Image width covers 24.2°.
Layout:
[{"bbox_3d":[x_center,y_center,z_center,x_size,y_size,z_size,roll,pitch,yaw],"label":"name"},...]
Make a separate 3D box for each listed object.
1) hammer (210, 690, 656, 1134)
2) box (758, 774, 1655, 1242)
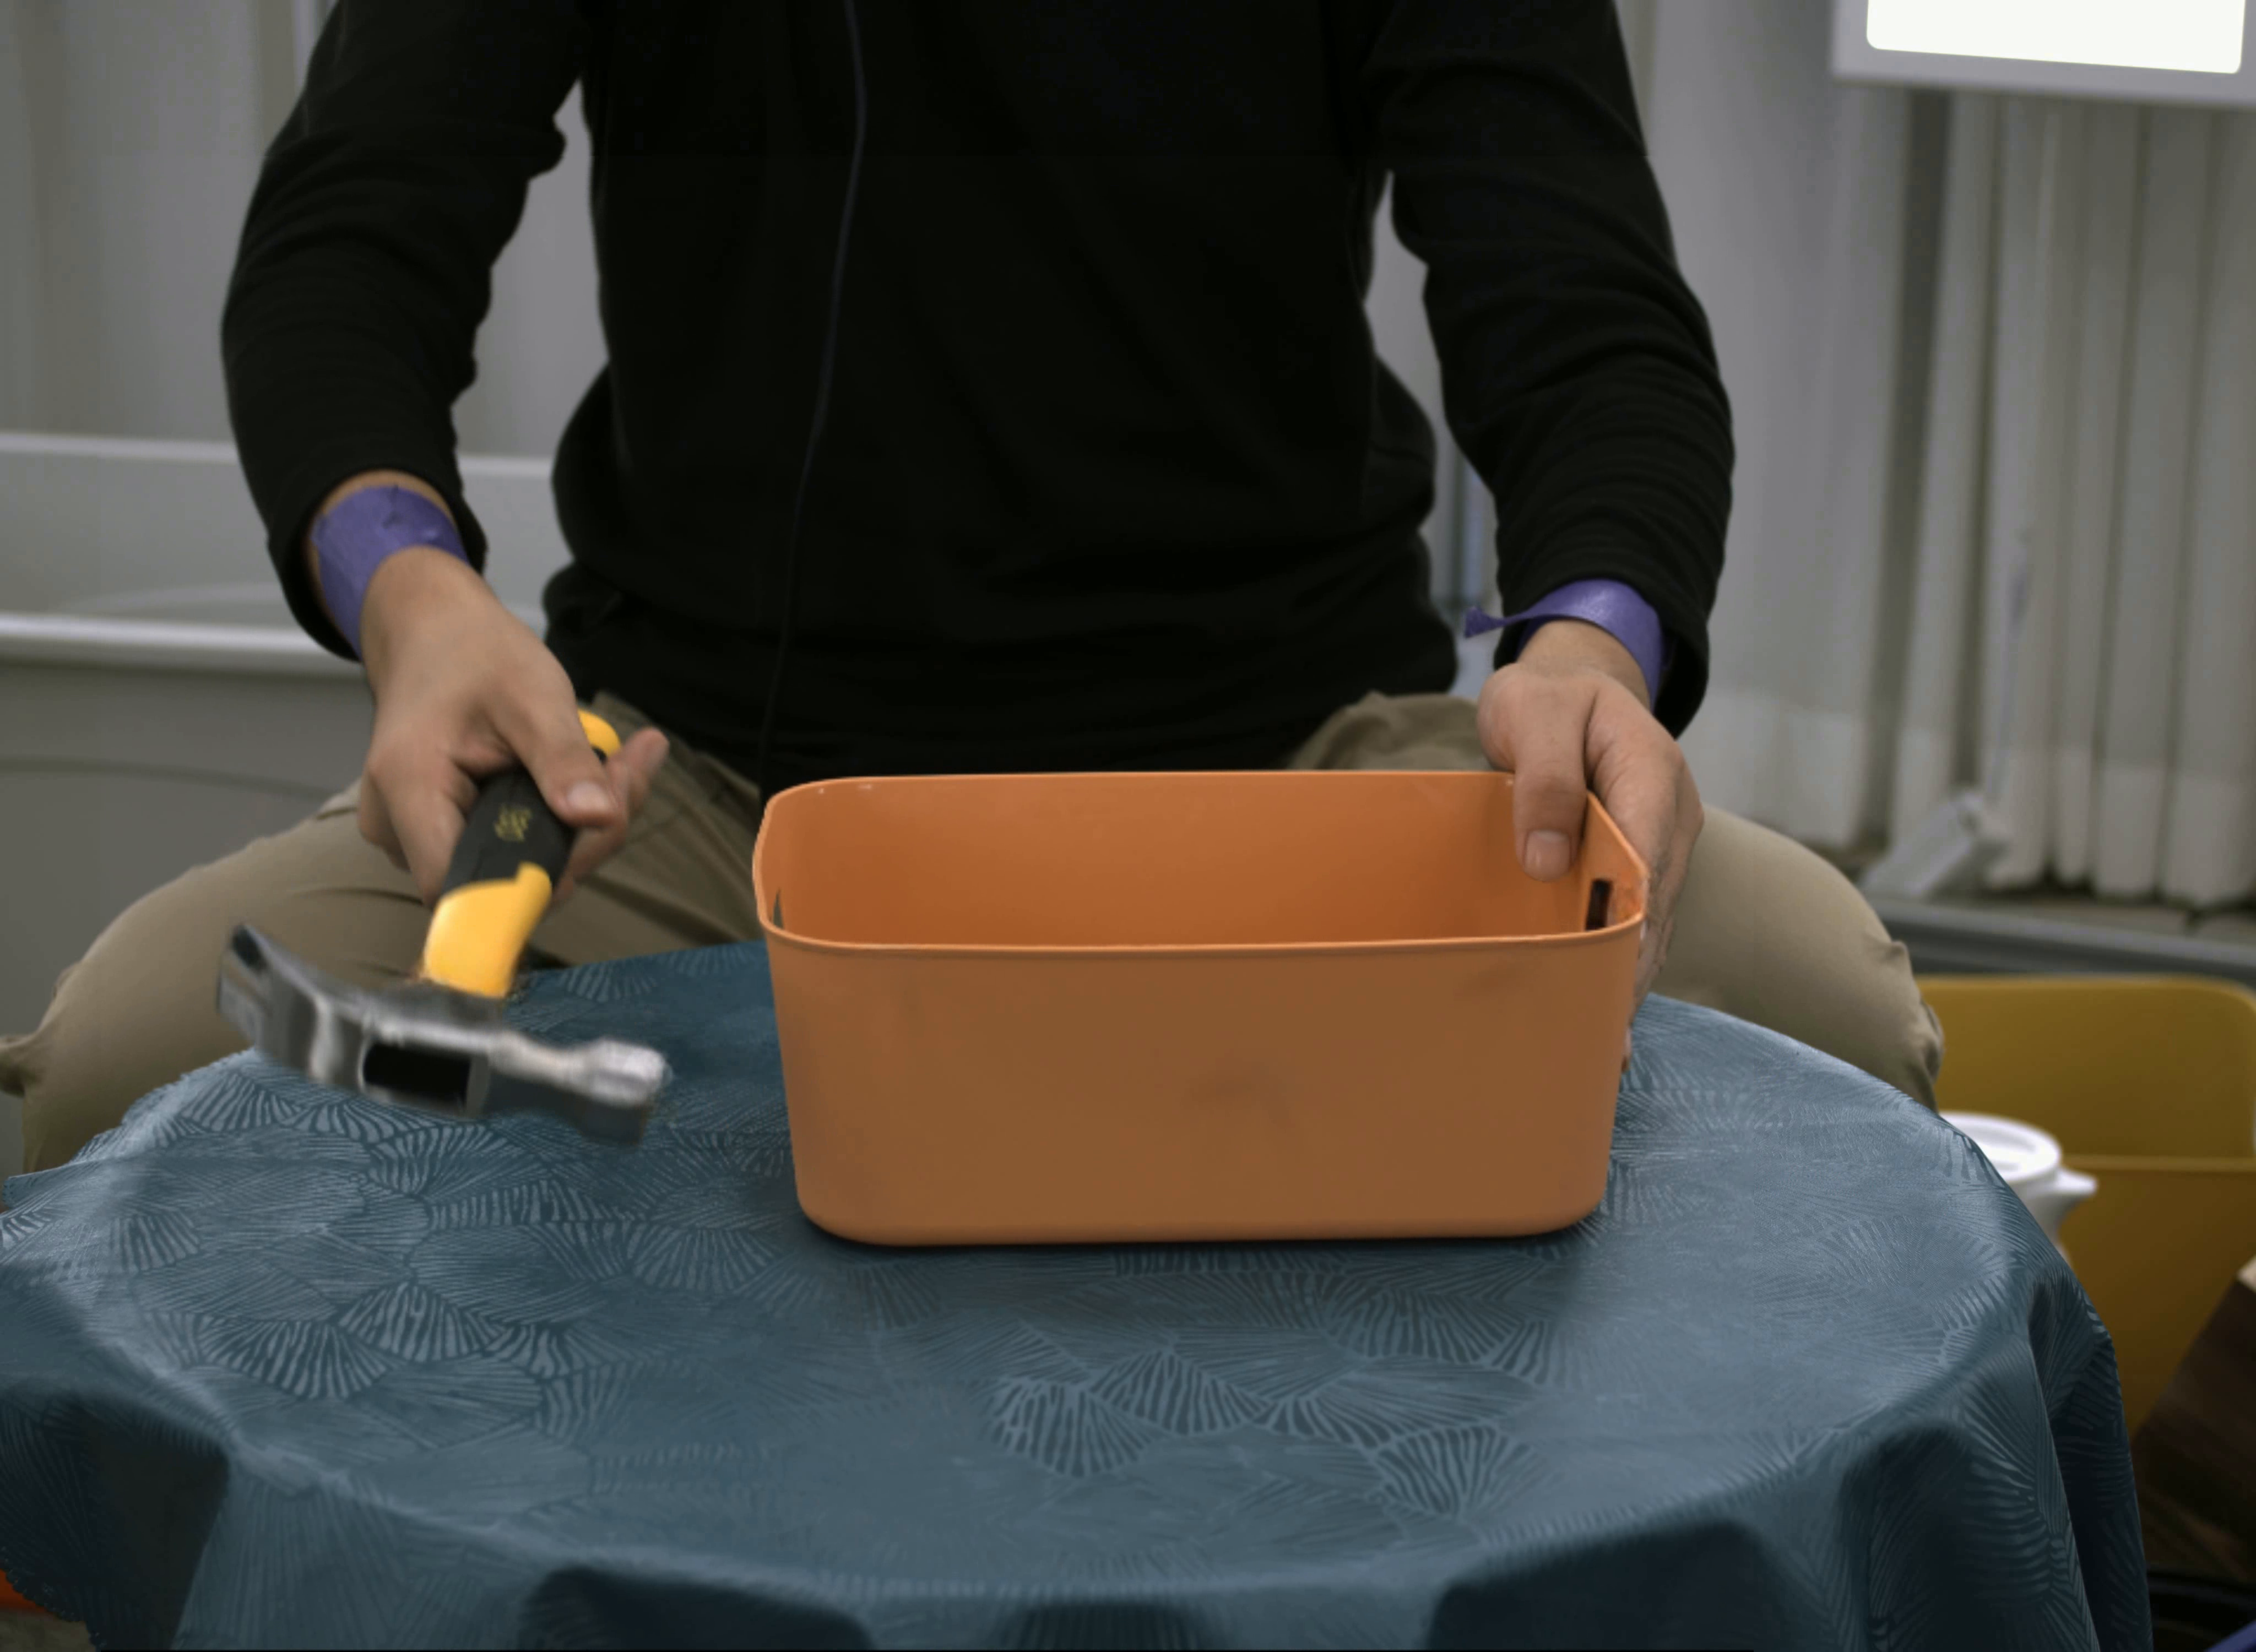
[{"bbox_3d":[-0.194,0.013,1.615,0.131,0.032,0.336,12,17,-2],"label":"hammer"},{"bbox_3d":[0.020,0.055,1.637,0.273,0.103,0.198,0,15,-4],"label":"box"}]
